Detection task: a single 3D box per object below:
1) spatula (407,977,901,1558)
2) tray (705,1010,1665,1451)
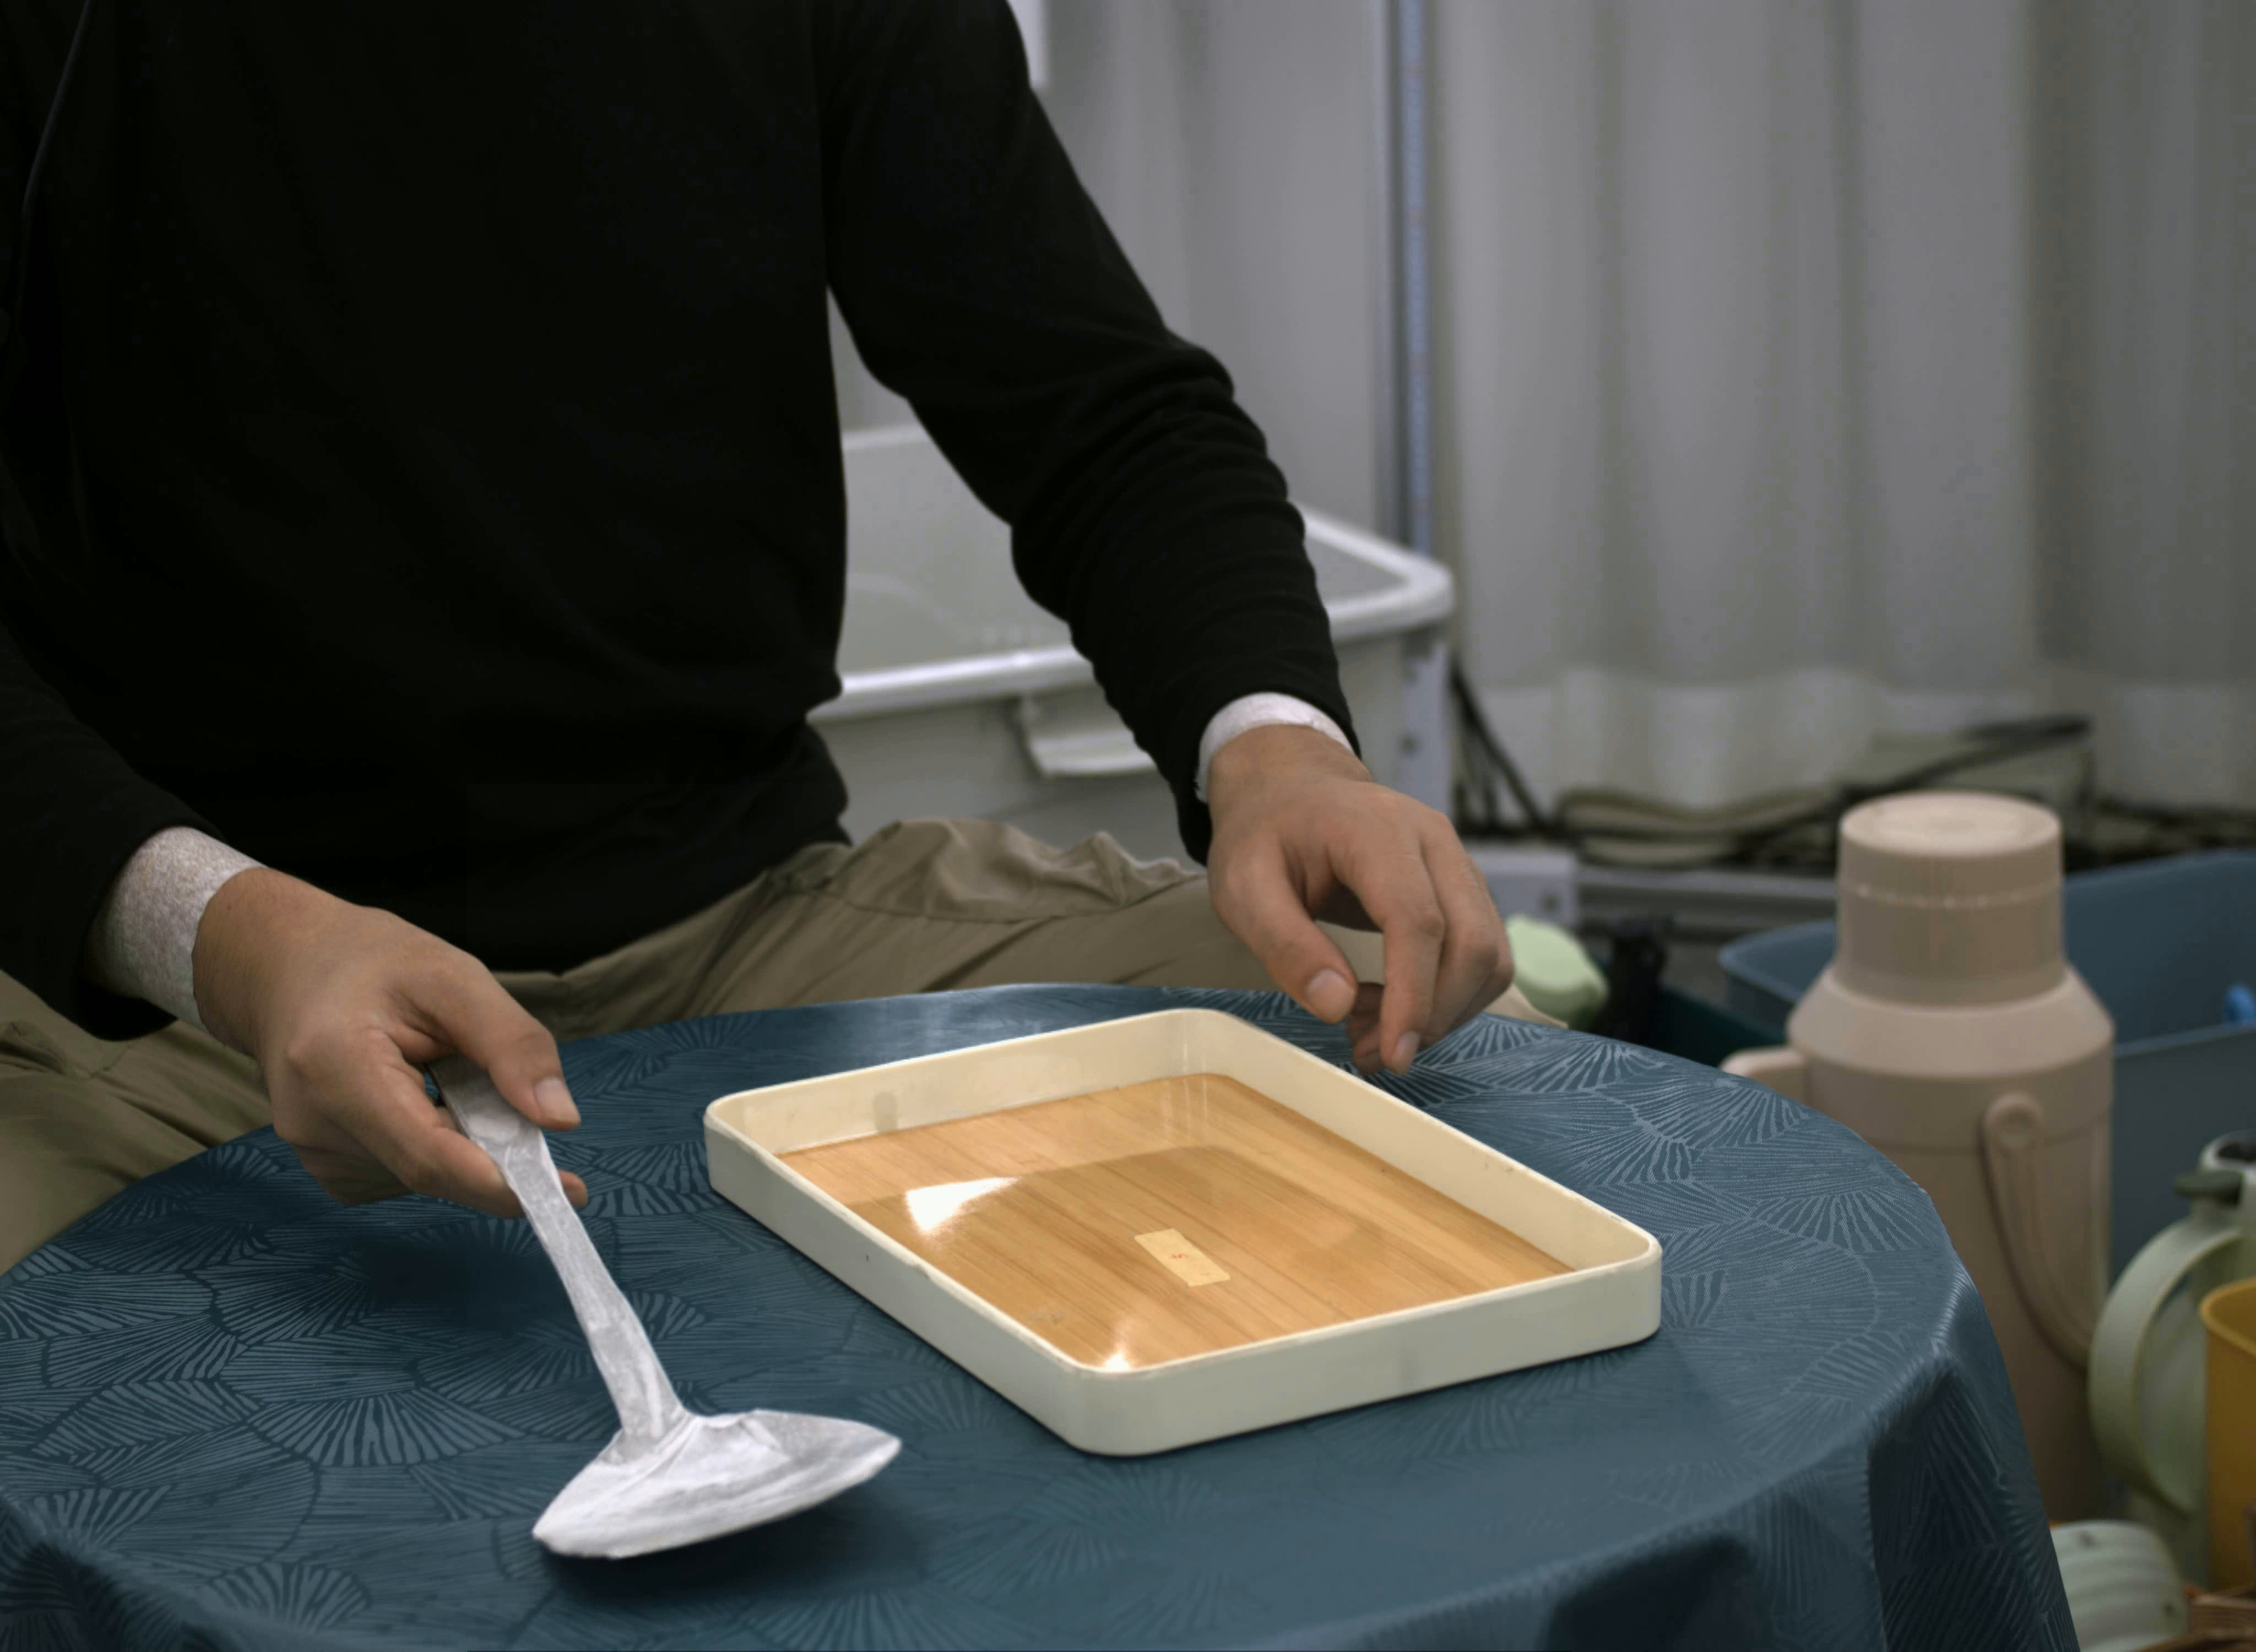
[{"bbox_3d":[-0.160,0.115,1.568,0.098,0.044,0.369,-17,32,-14],"label":"spatula"},{"bbox_3d":[0.010,0.117,1.651,0.191,0.027,0.302,-10,16,-24],"label":"tray"}]
